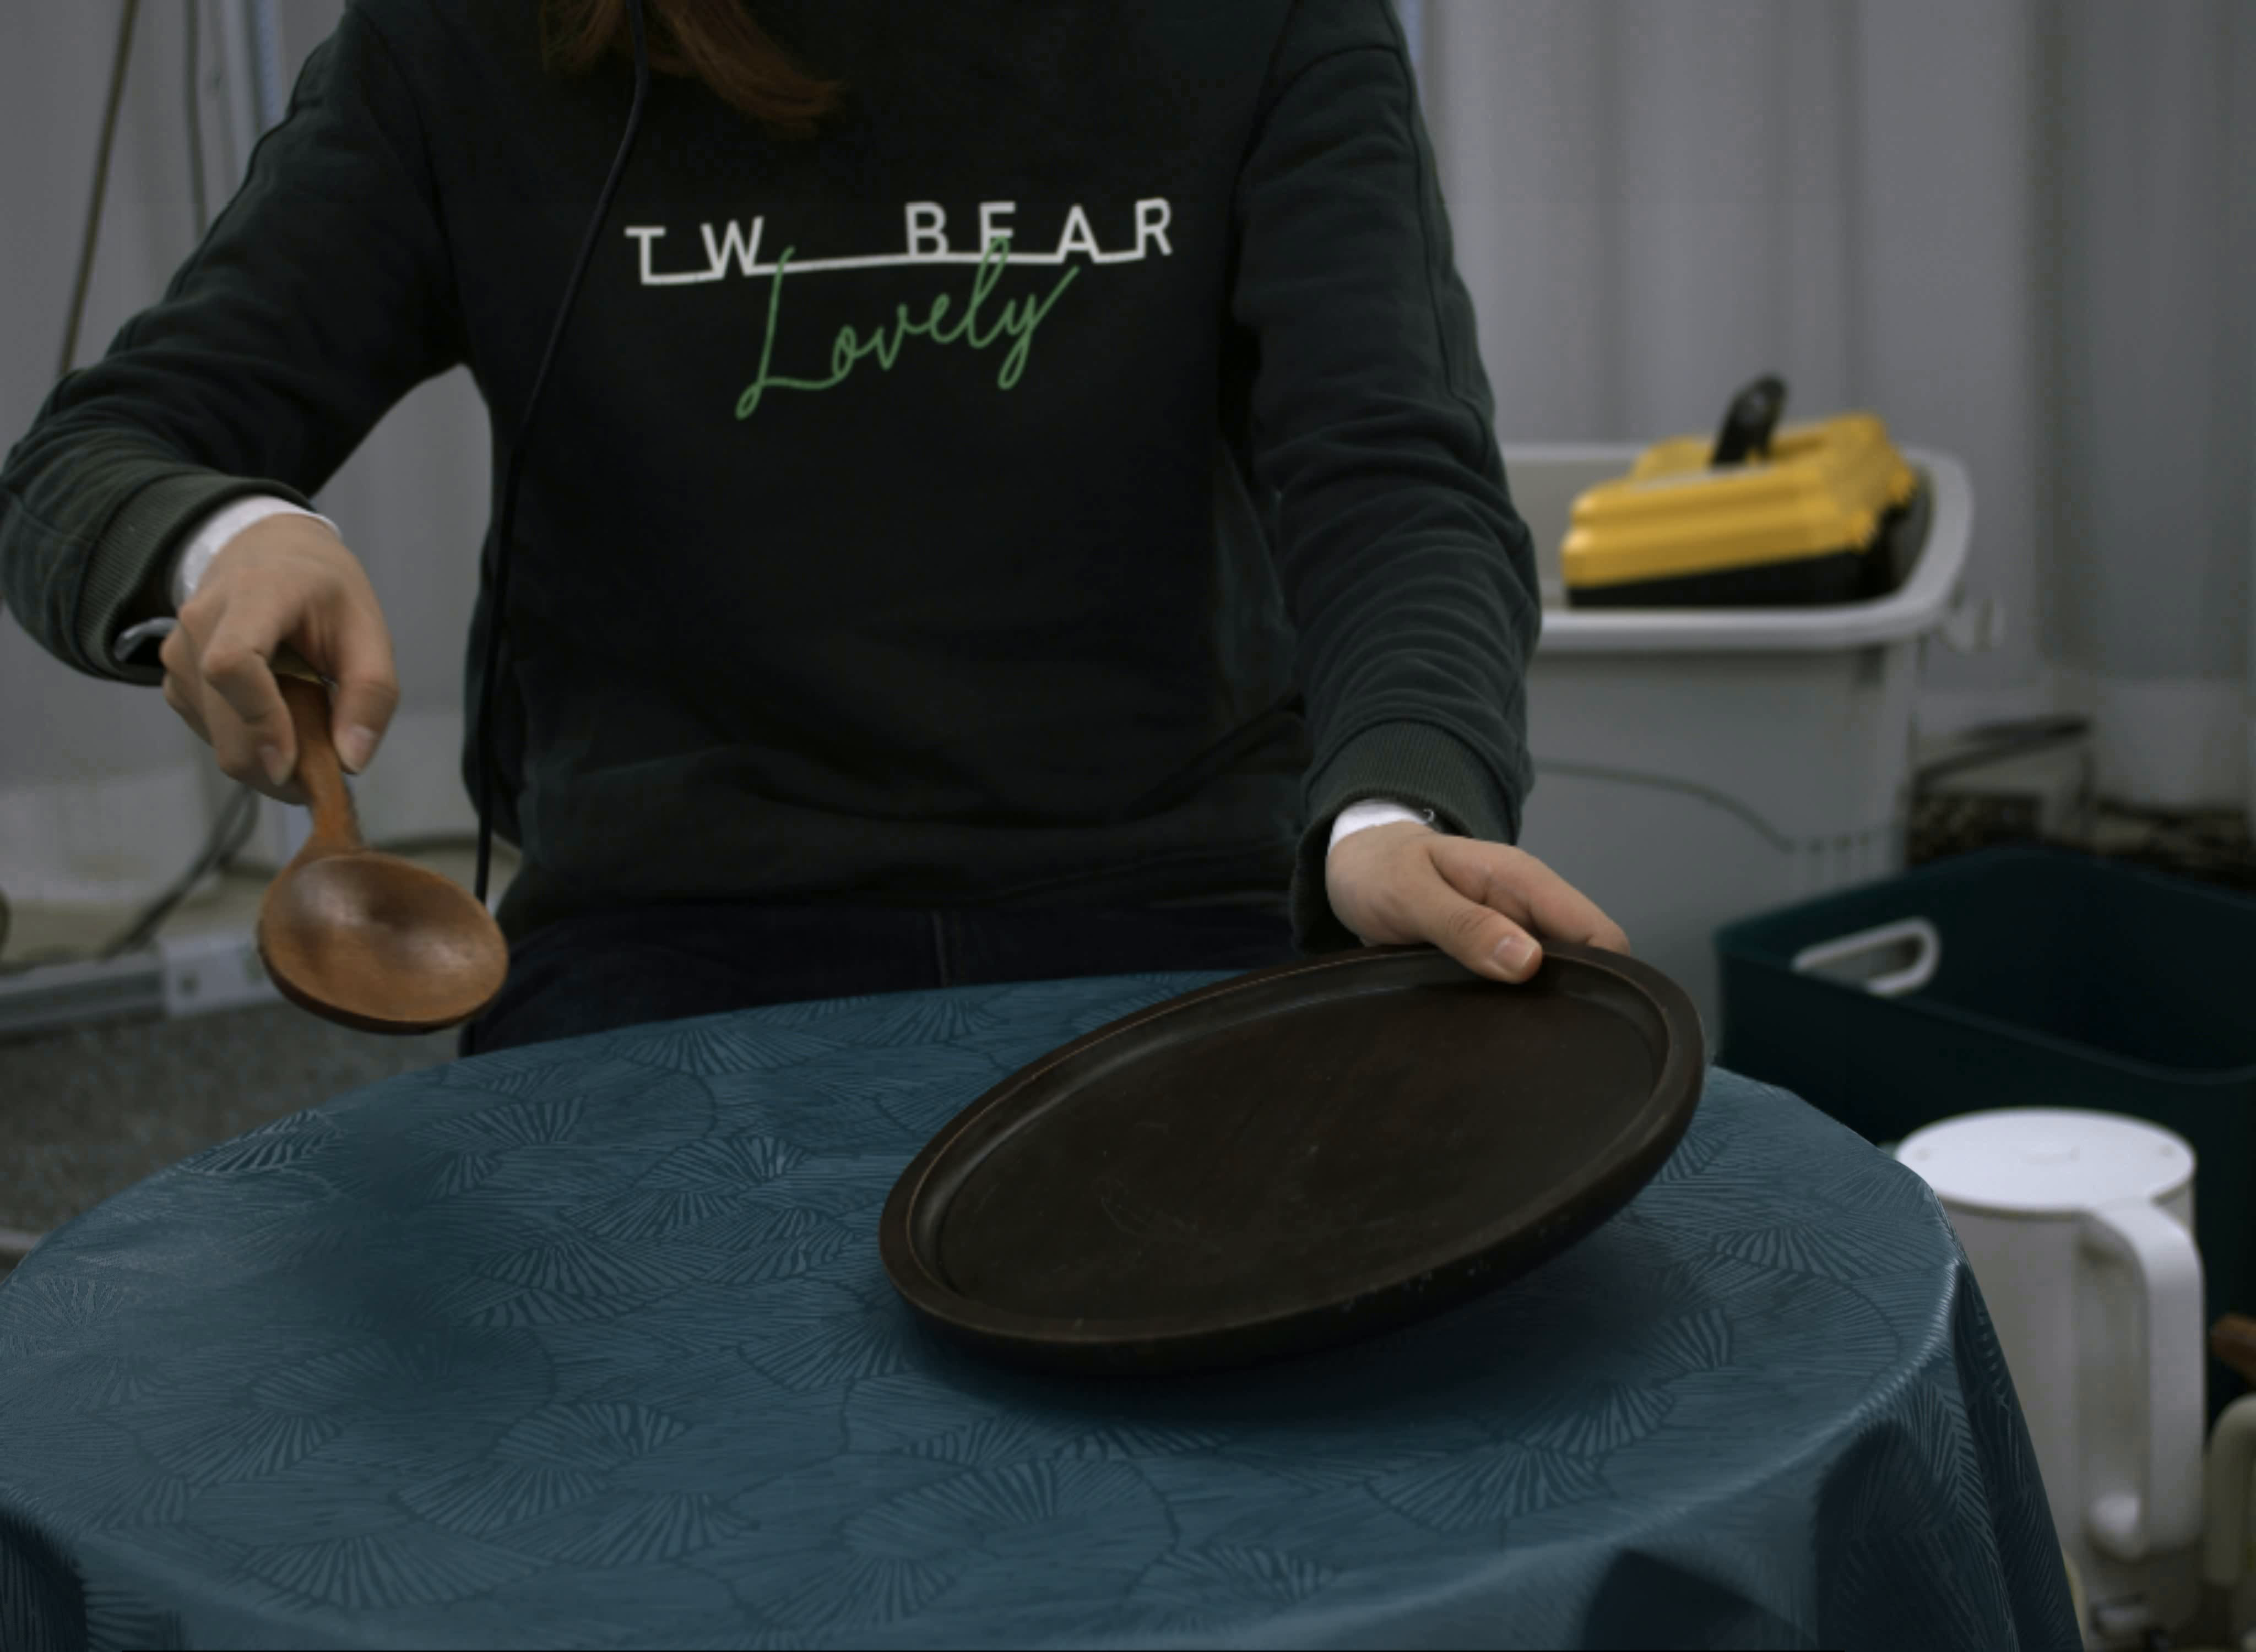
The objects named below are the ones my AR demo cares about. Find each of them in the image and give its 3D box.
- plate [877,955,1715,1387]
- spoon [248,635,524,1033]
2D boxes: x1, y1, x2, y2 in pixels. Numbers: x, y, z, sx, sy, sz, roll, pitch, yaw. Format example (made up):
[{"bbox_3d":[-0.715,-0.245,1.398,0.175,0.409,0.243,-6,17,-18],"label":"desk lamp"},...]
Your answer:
[{"bbox_3d":[0.050,0.099,1.613,0.254,0.029,0.257,-13,21,5],"label":"plate"},{"bbox_3d":[-0.235,0.003,1.655,0.075,0.017,0.219,-2,33,-20],"label":"spoon"}]
